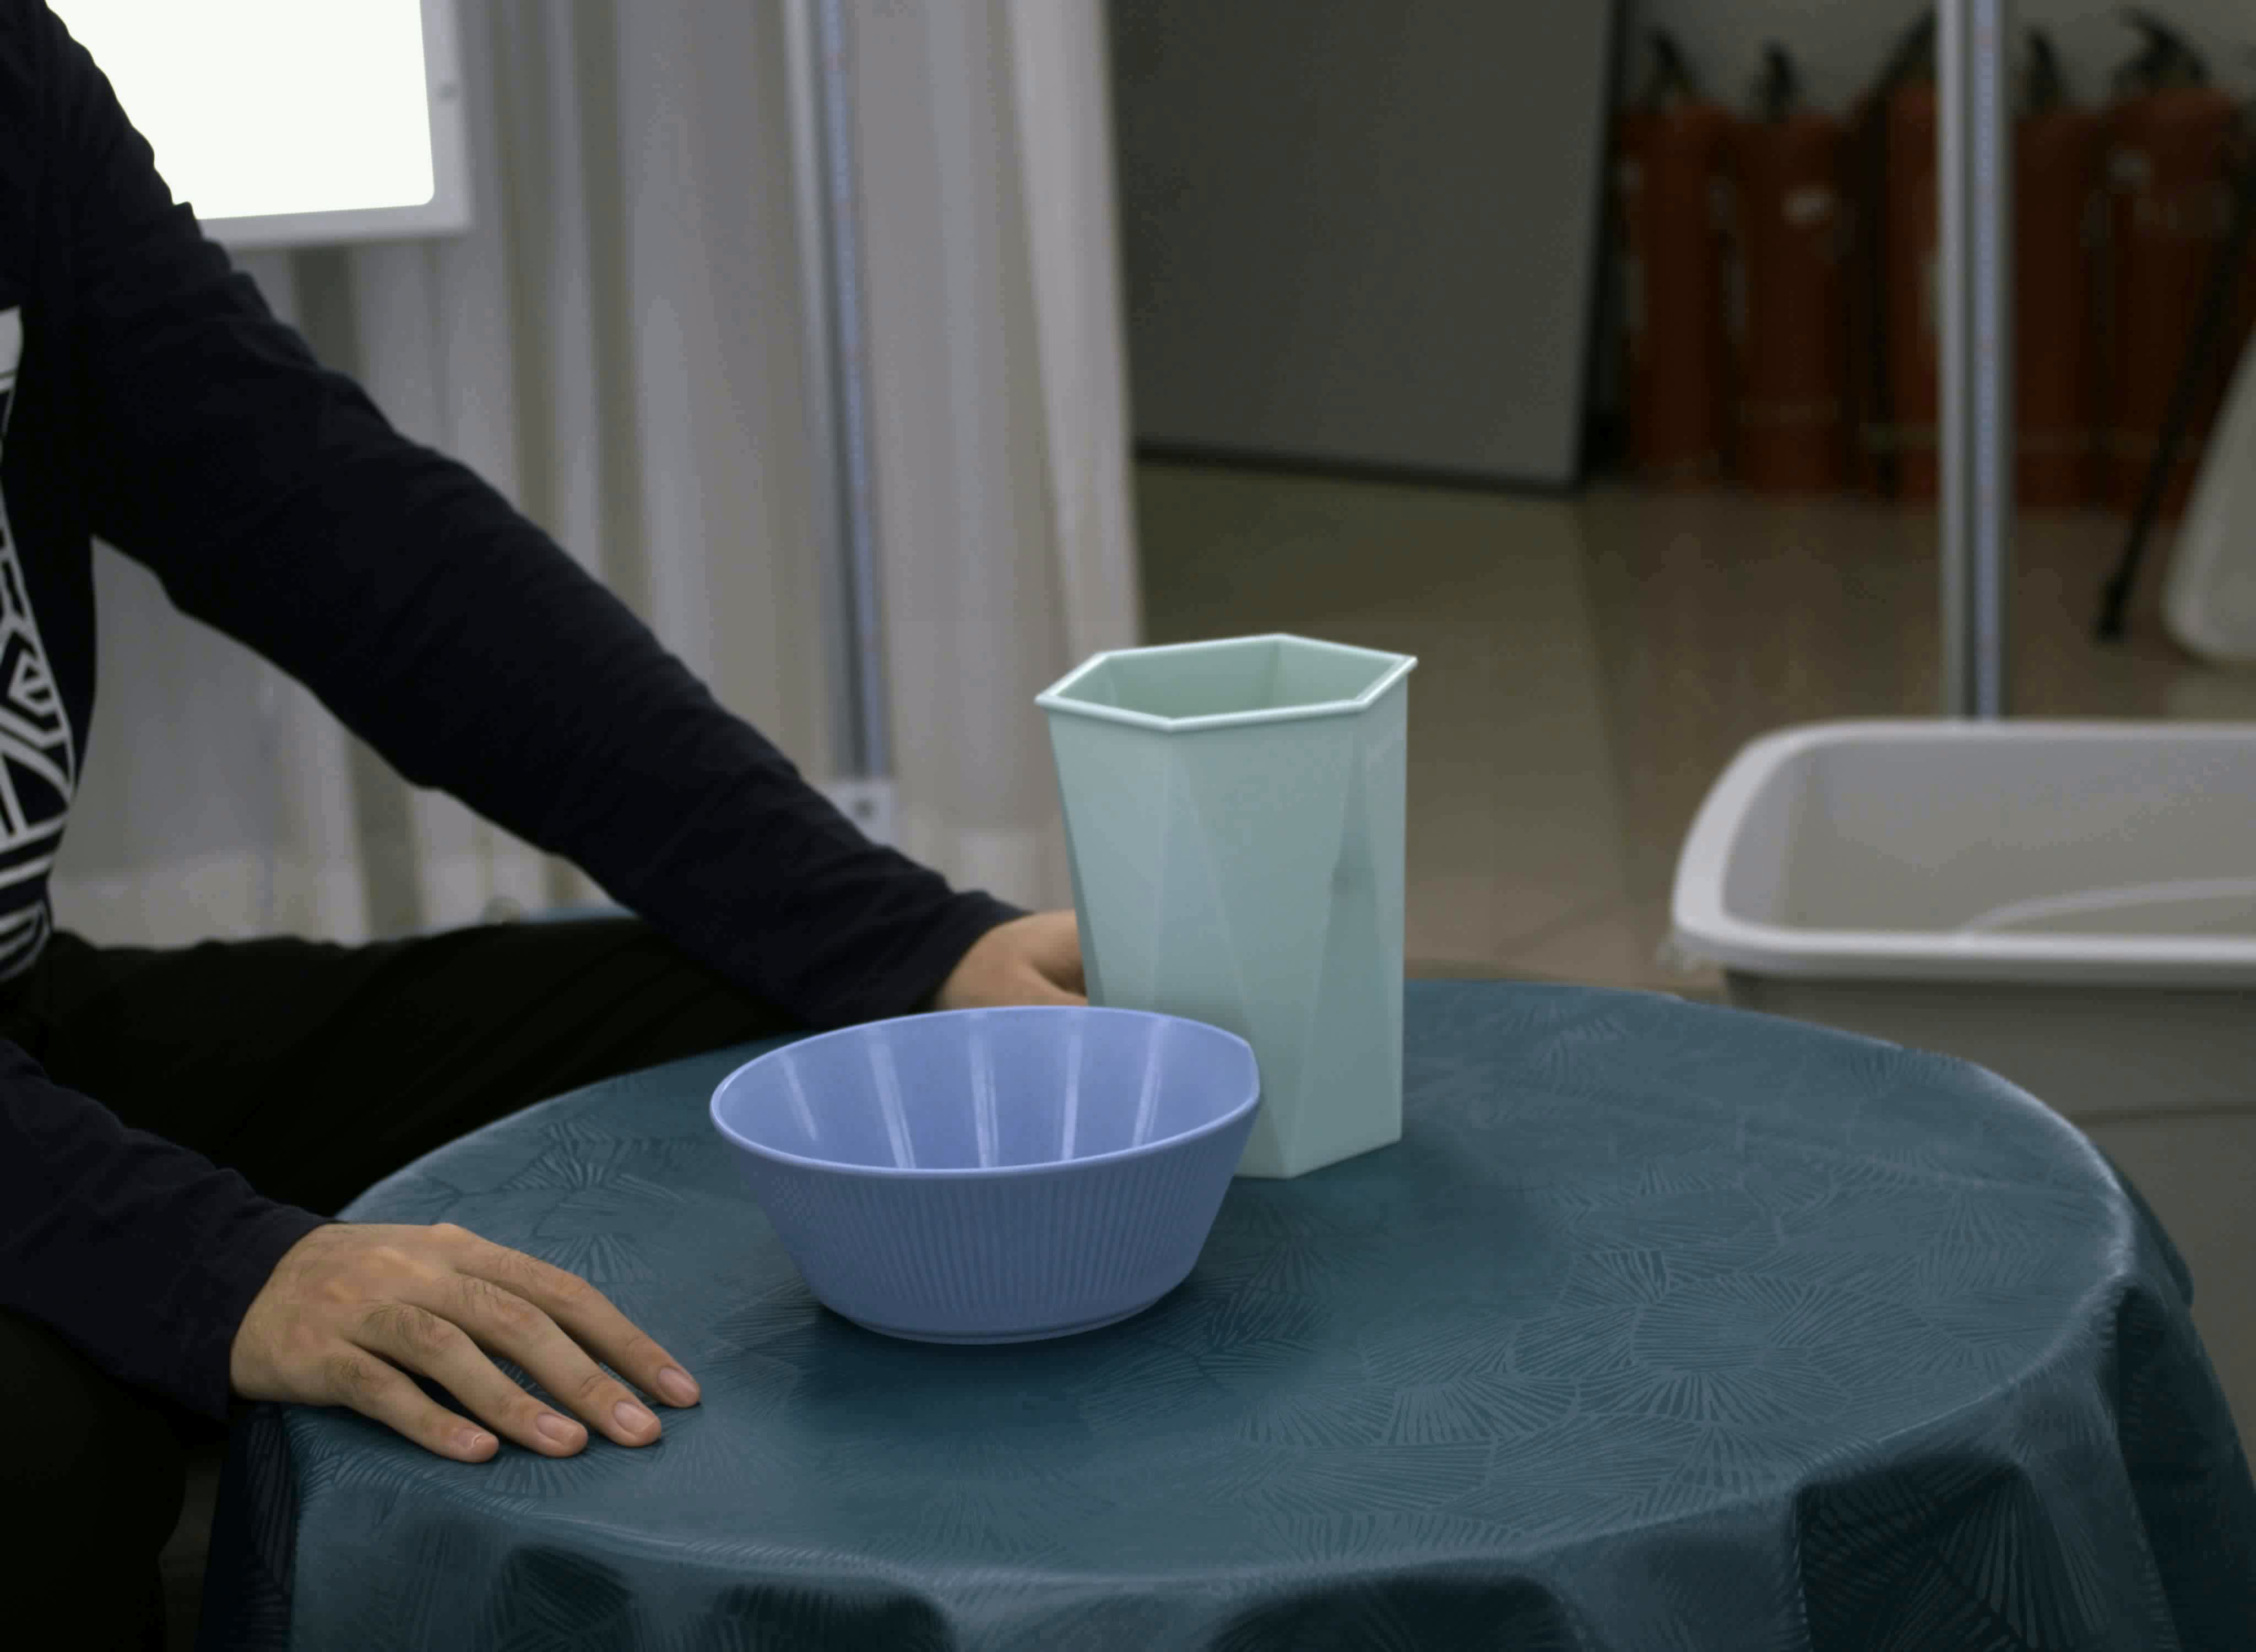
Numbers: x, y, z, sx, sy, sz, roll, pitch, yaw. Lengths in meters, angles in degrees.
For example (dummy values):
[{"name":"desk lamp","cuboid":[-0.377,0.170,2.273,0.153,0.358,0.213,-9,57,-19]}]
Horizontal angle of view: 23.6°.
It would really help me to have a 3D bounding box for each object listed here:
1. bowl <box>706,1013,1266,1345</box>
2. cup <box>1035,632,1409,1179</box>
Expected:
[{"name":"bowl","cuboid":[-0.042,0.112,1.679,0.174,0.071,0.176,-4,13,0]},{"name":"cup","cuboid":[0.039,0.027,1.806,0.115,0.165,0.130,-1,12,18]}]
